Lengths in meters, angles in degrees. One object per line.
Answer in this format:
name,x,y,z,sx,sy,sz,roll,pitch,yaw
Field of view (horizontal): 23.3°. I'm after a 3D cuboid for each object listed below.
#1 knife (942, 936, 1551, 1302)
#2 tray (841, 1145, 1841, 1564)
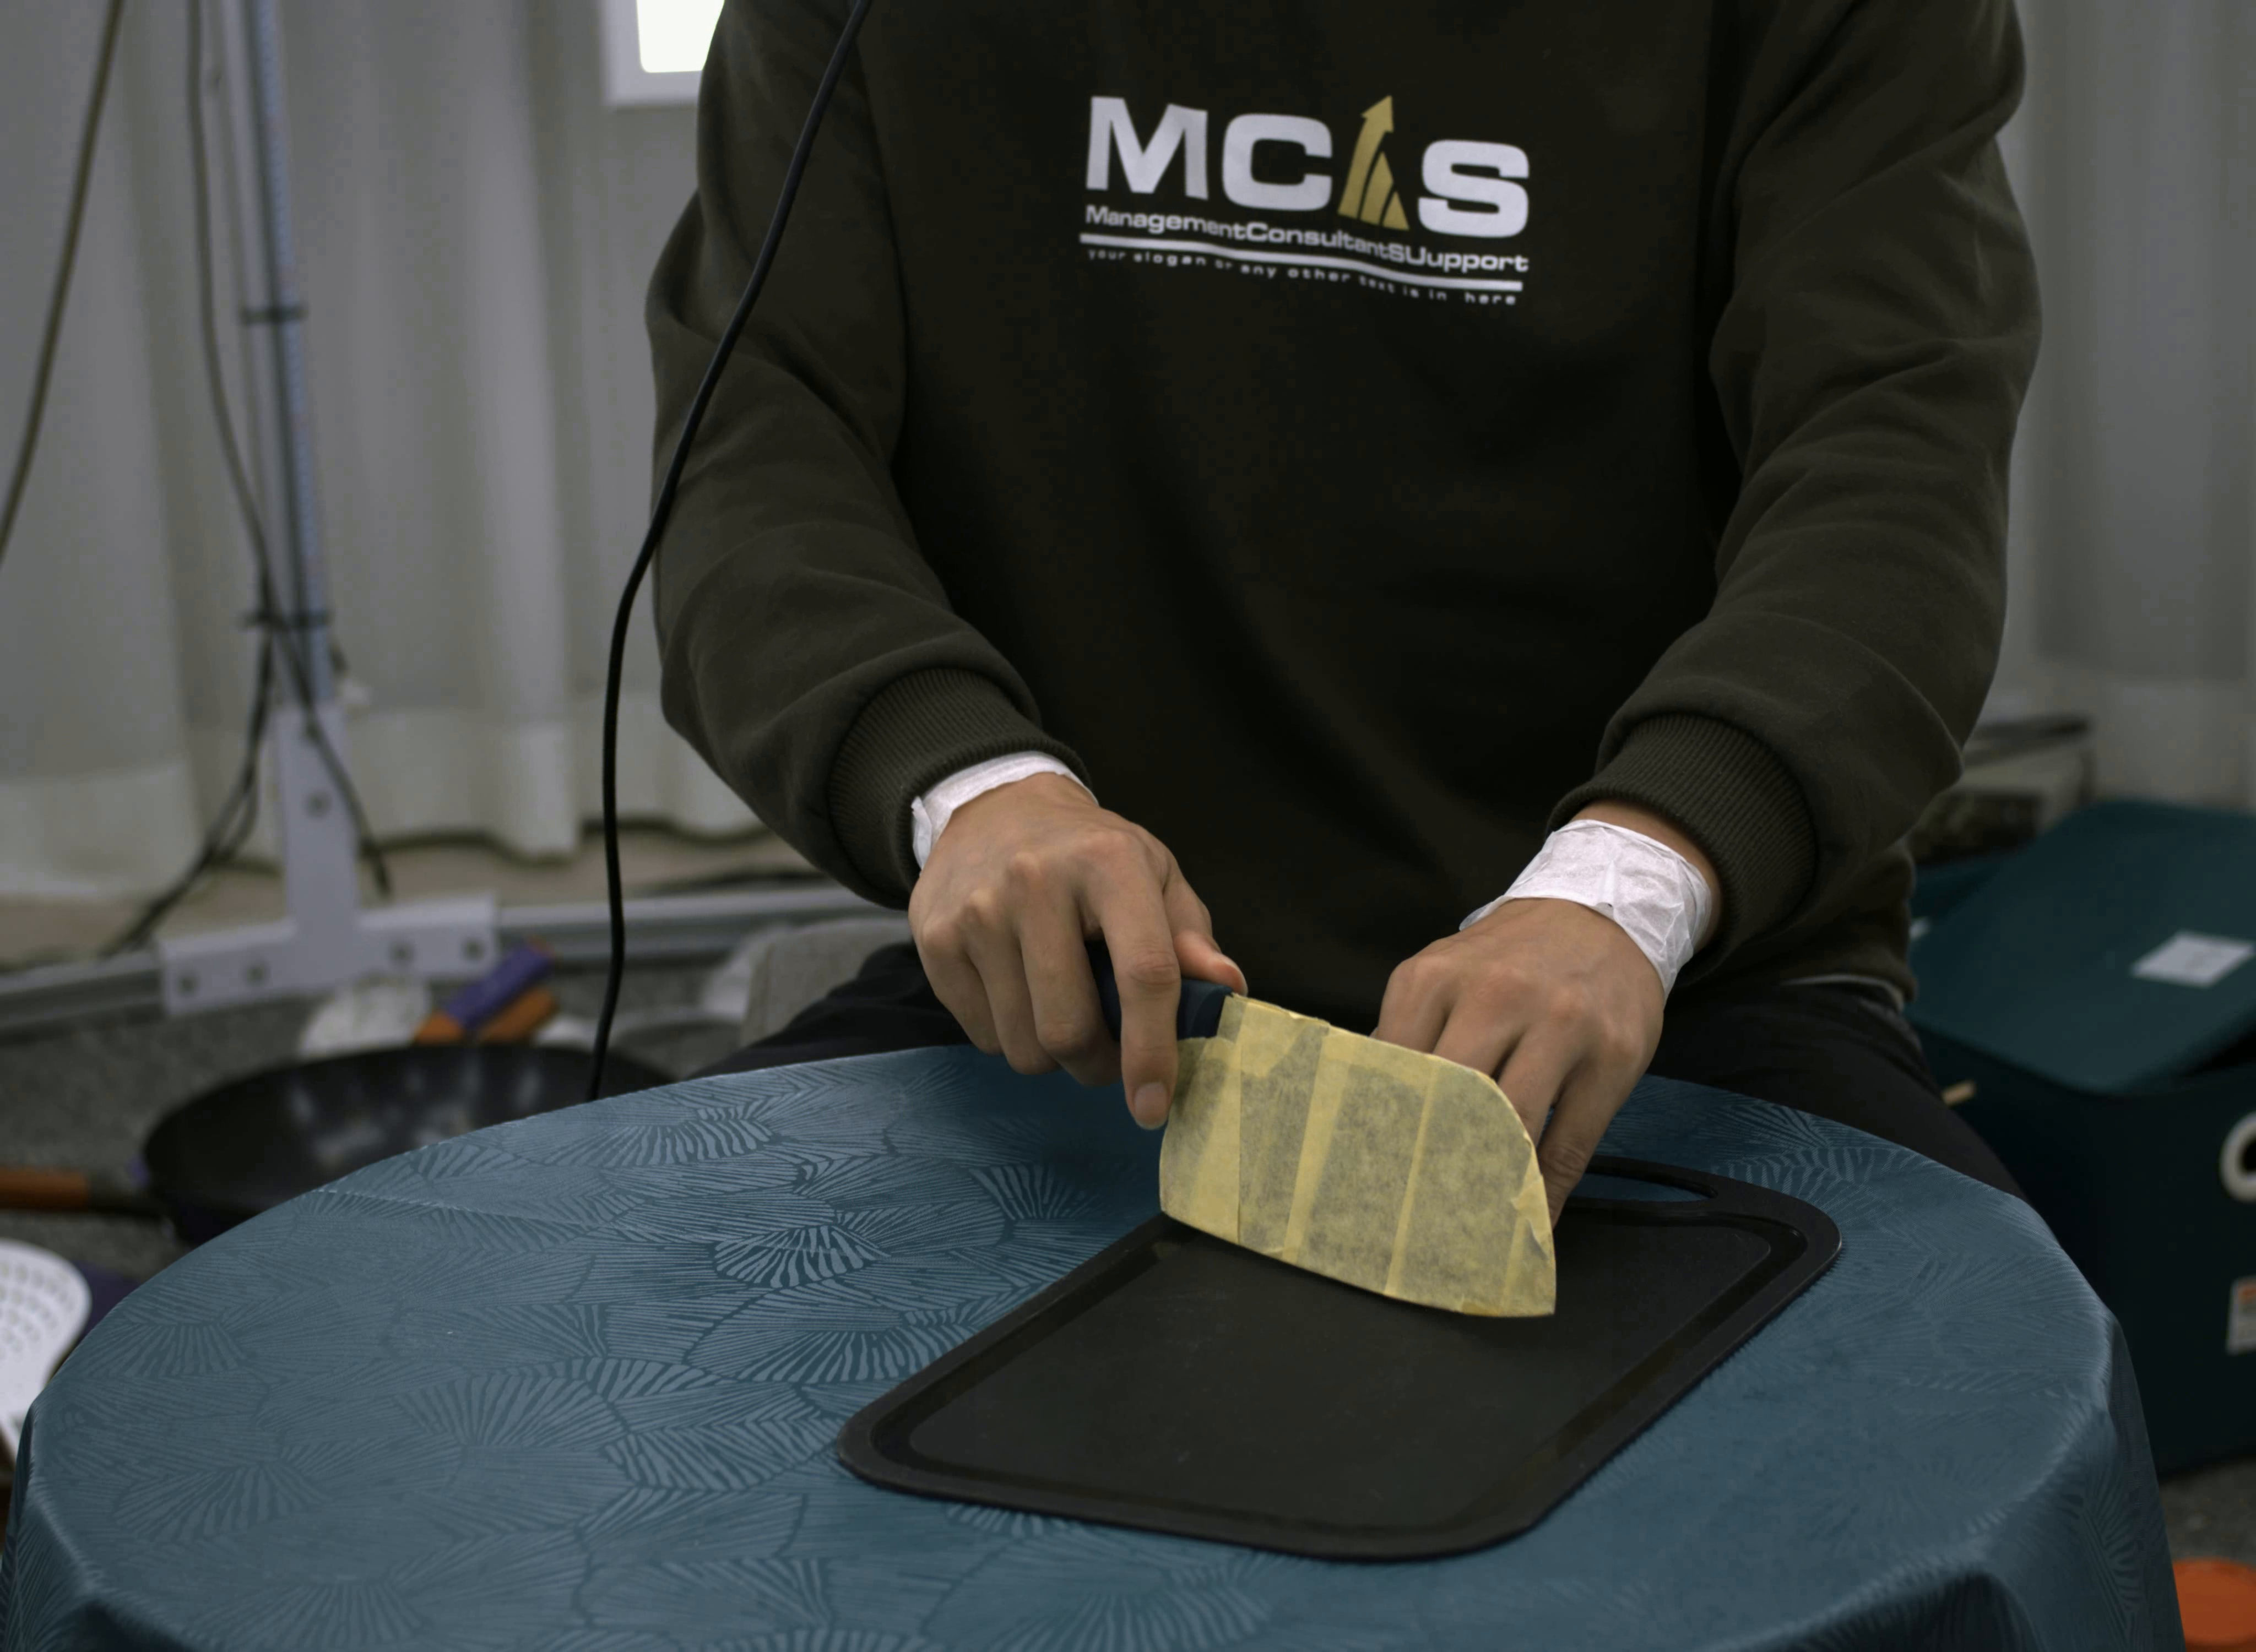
knife,0.032,0.085,1.661,0.027,0.081,0.292,13,4,-40
tray,0.070,0.143,1.583,0.211,0.010,0.326,5,17,28
